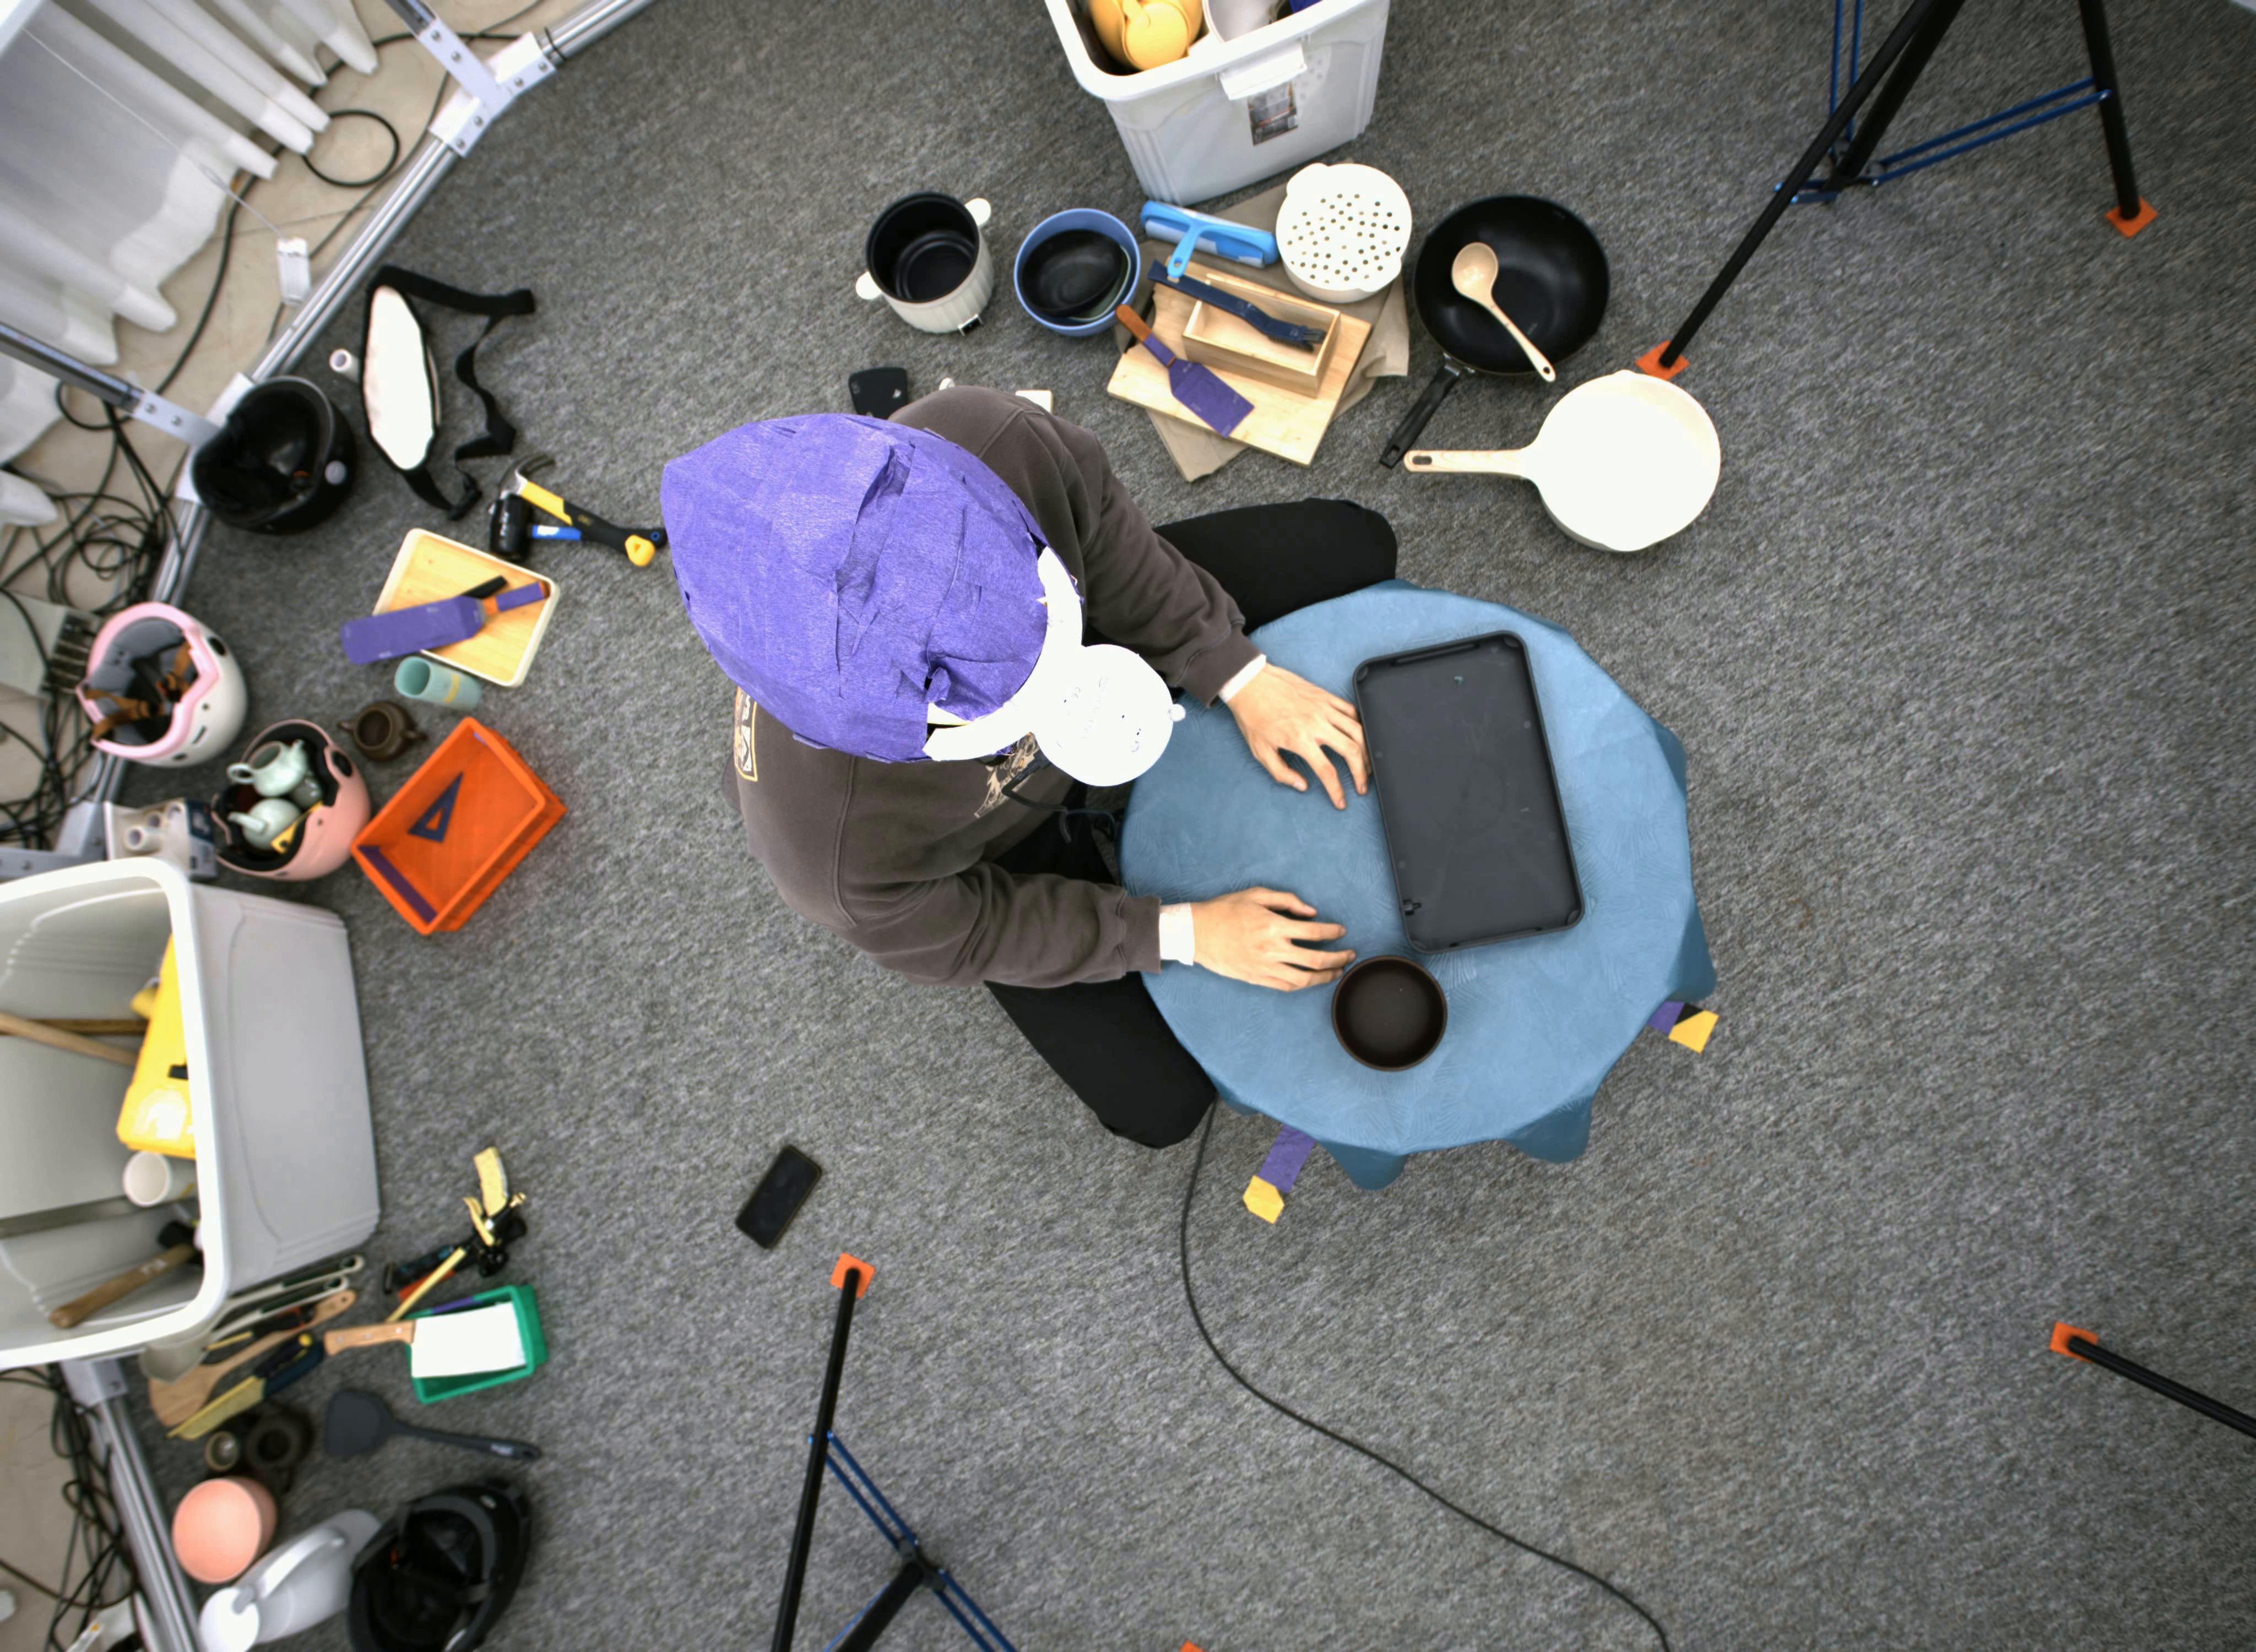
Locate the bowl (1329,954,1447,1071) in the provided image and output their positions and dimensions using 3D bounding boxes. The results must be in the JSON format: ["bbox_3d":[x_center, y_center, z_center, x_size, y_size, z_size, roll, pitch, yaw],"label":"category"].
[{"bbox_3d":[0.266,0.189,1.416,0.118,0.070,0.117,-1,86,12],"label":"bowl"}]

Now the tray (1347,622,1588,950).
[{"bbox_3d":[0.351,-0.042,1.430,0.185,0.037,0.316,-13,85,10],"label":"tray"}]
